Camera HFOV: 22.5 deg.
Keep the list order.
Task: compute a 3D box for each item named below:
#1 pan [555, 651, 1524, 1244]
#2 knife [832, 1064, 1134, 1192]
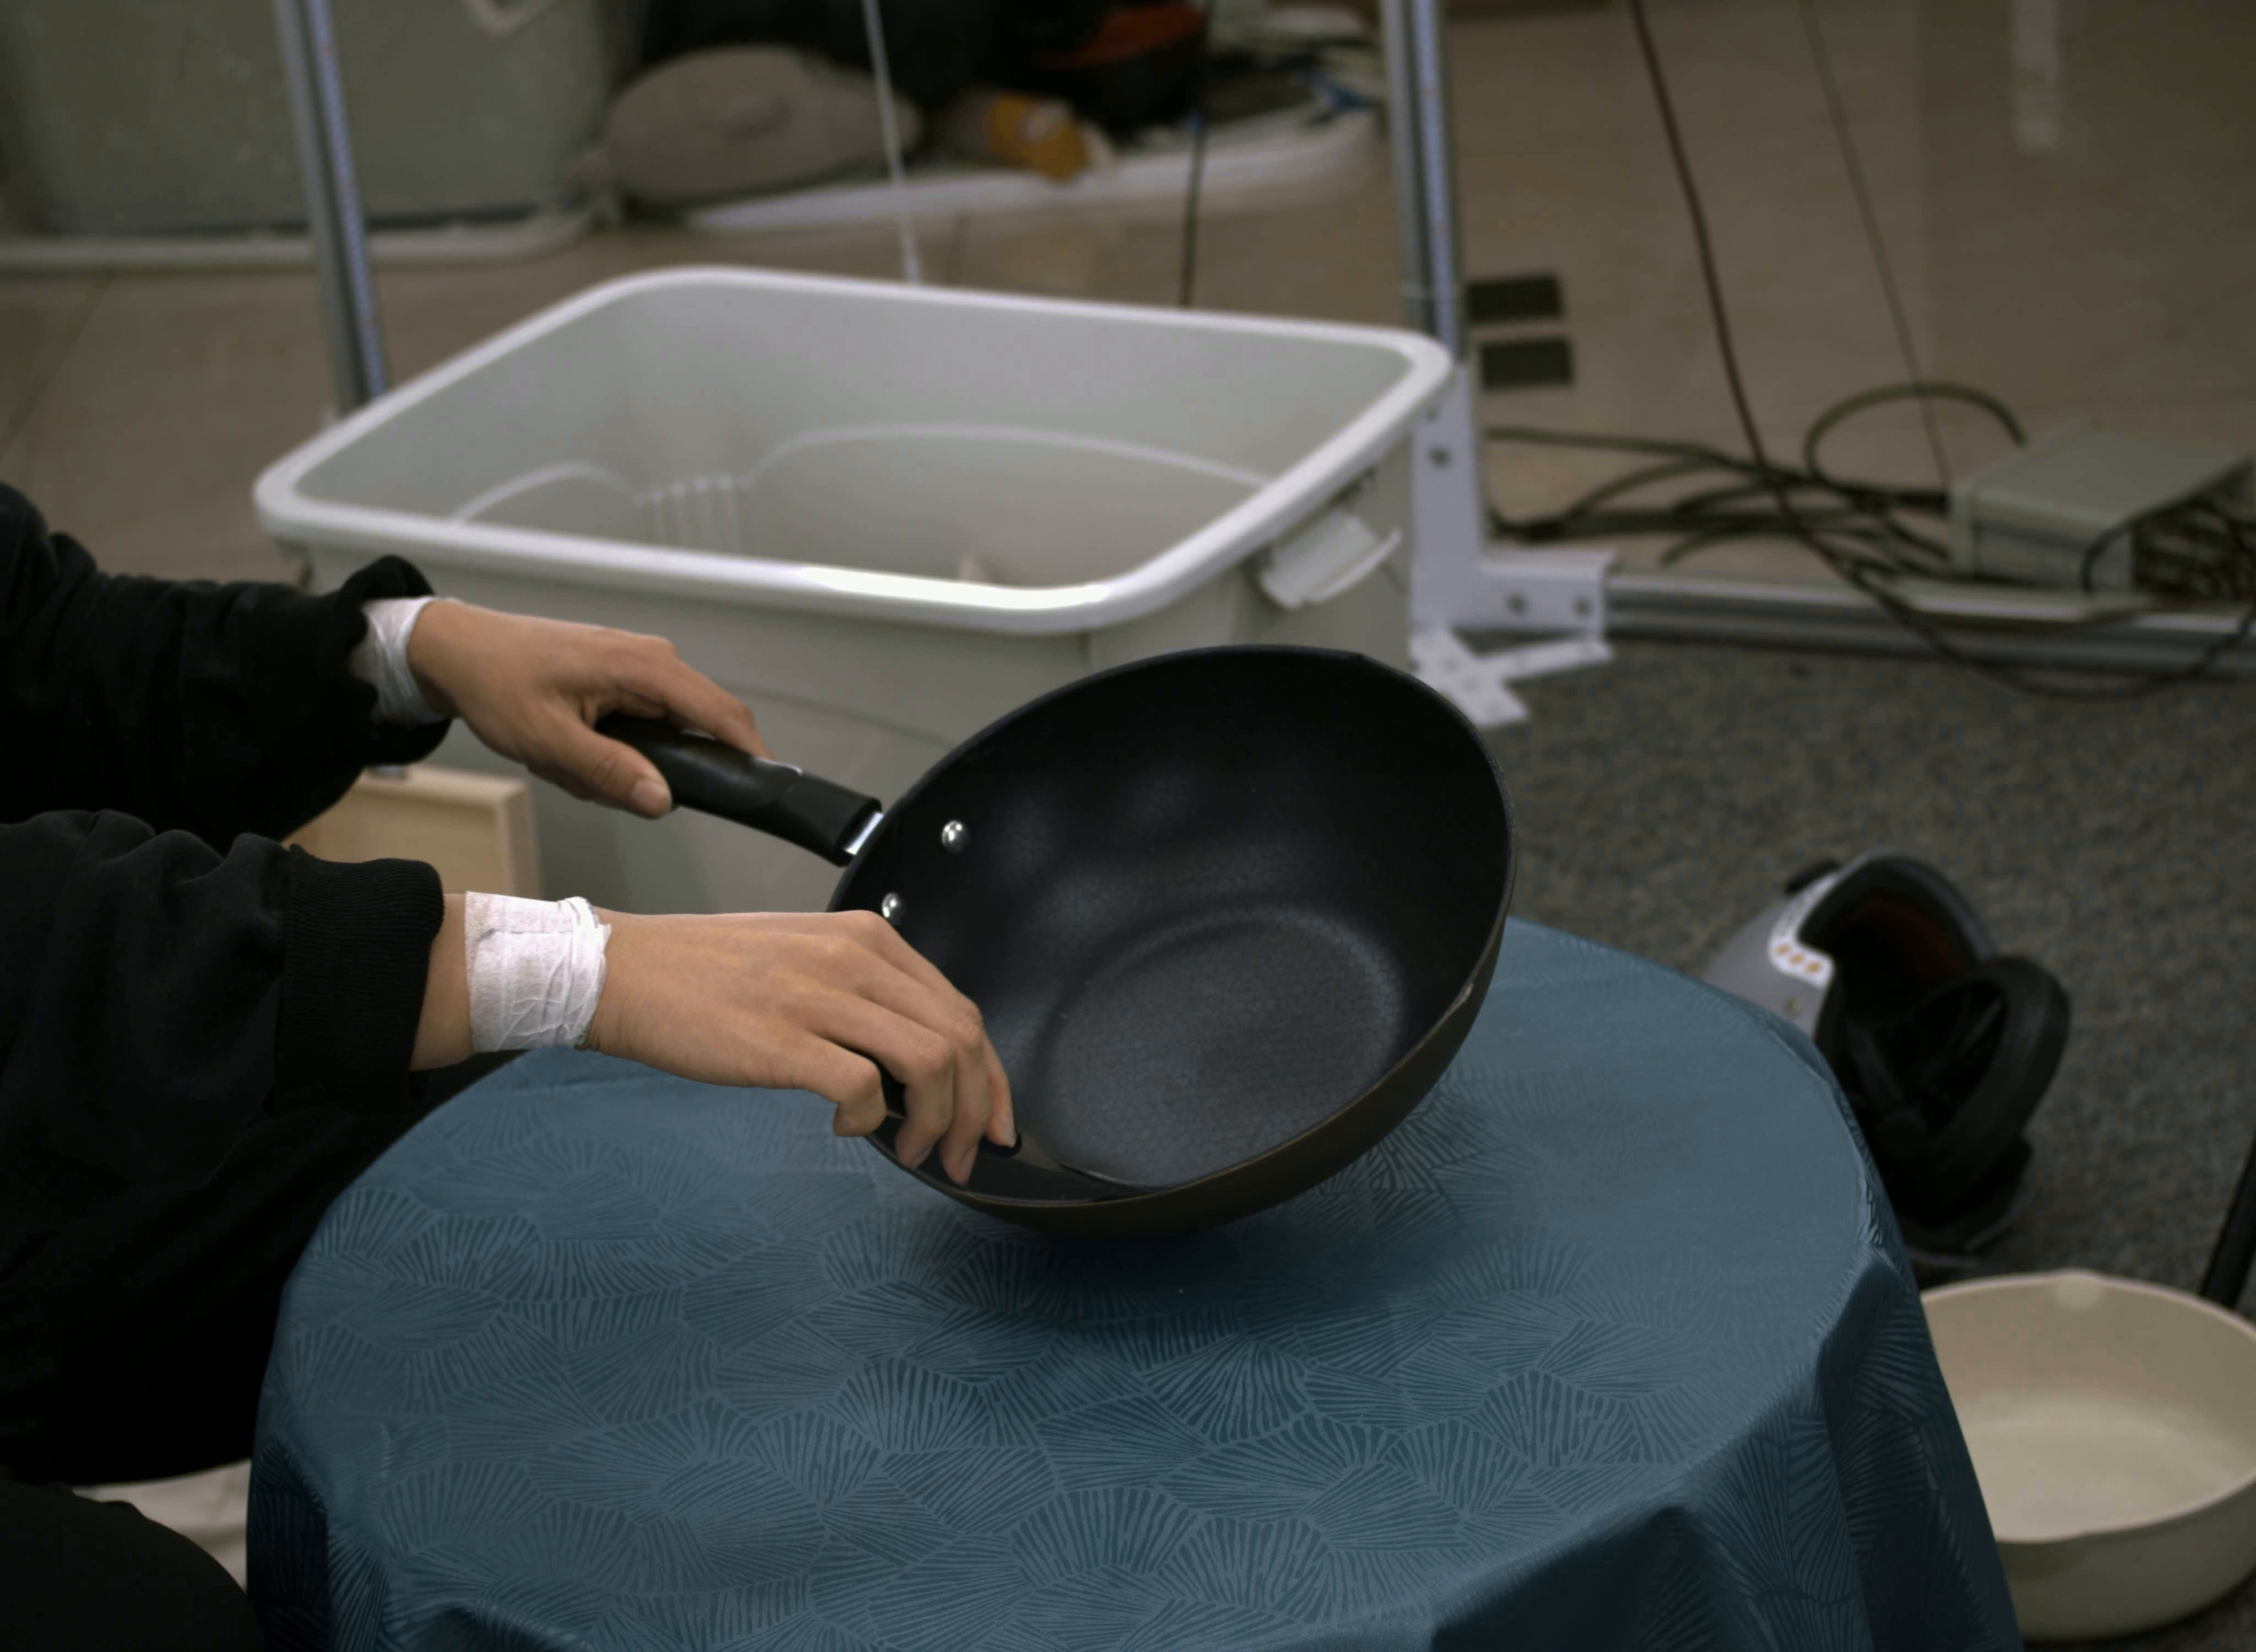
[{"bbox_3d":[-0.046,0.038,2.208,0.460,0.088,0.285,17,57,36],"label":"pan"},{"bbox_3d":[-0.037,0.114,2.003,0.026,0.017,0.227,7,-11,34],"label":"knife"}]
